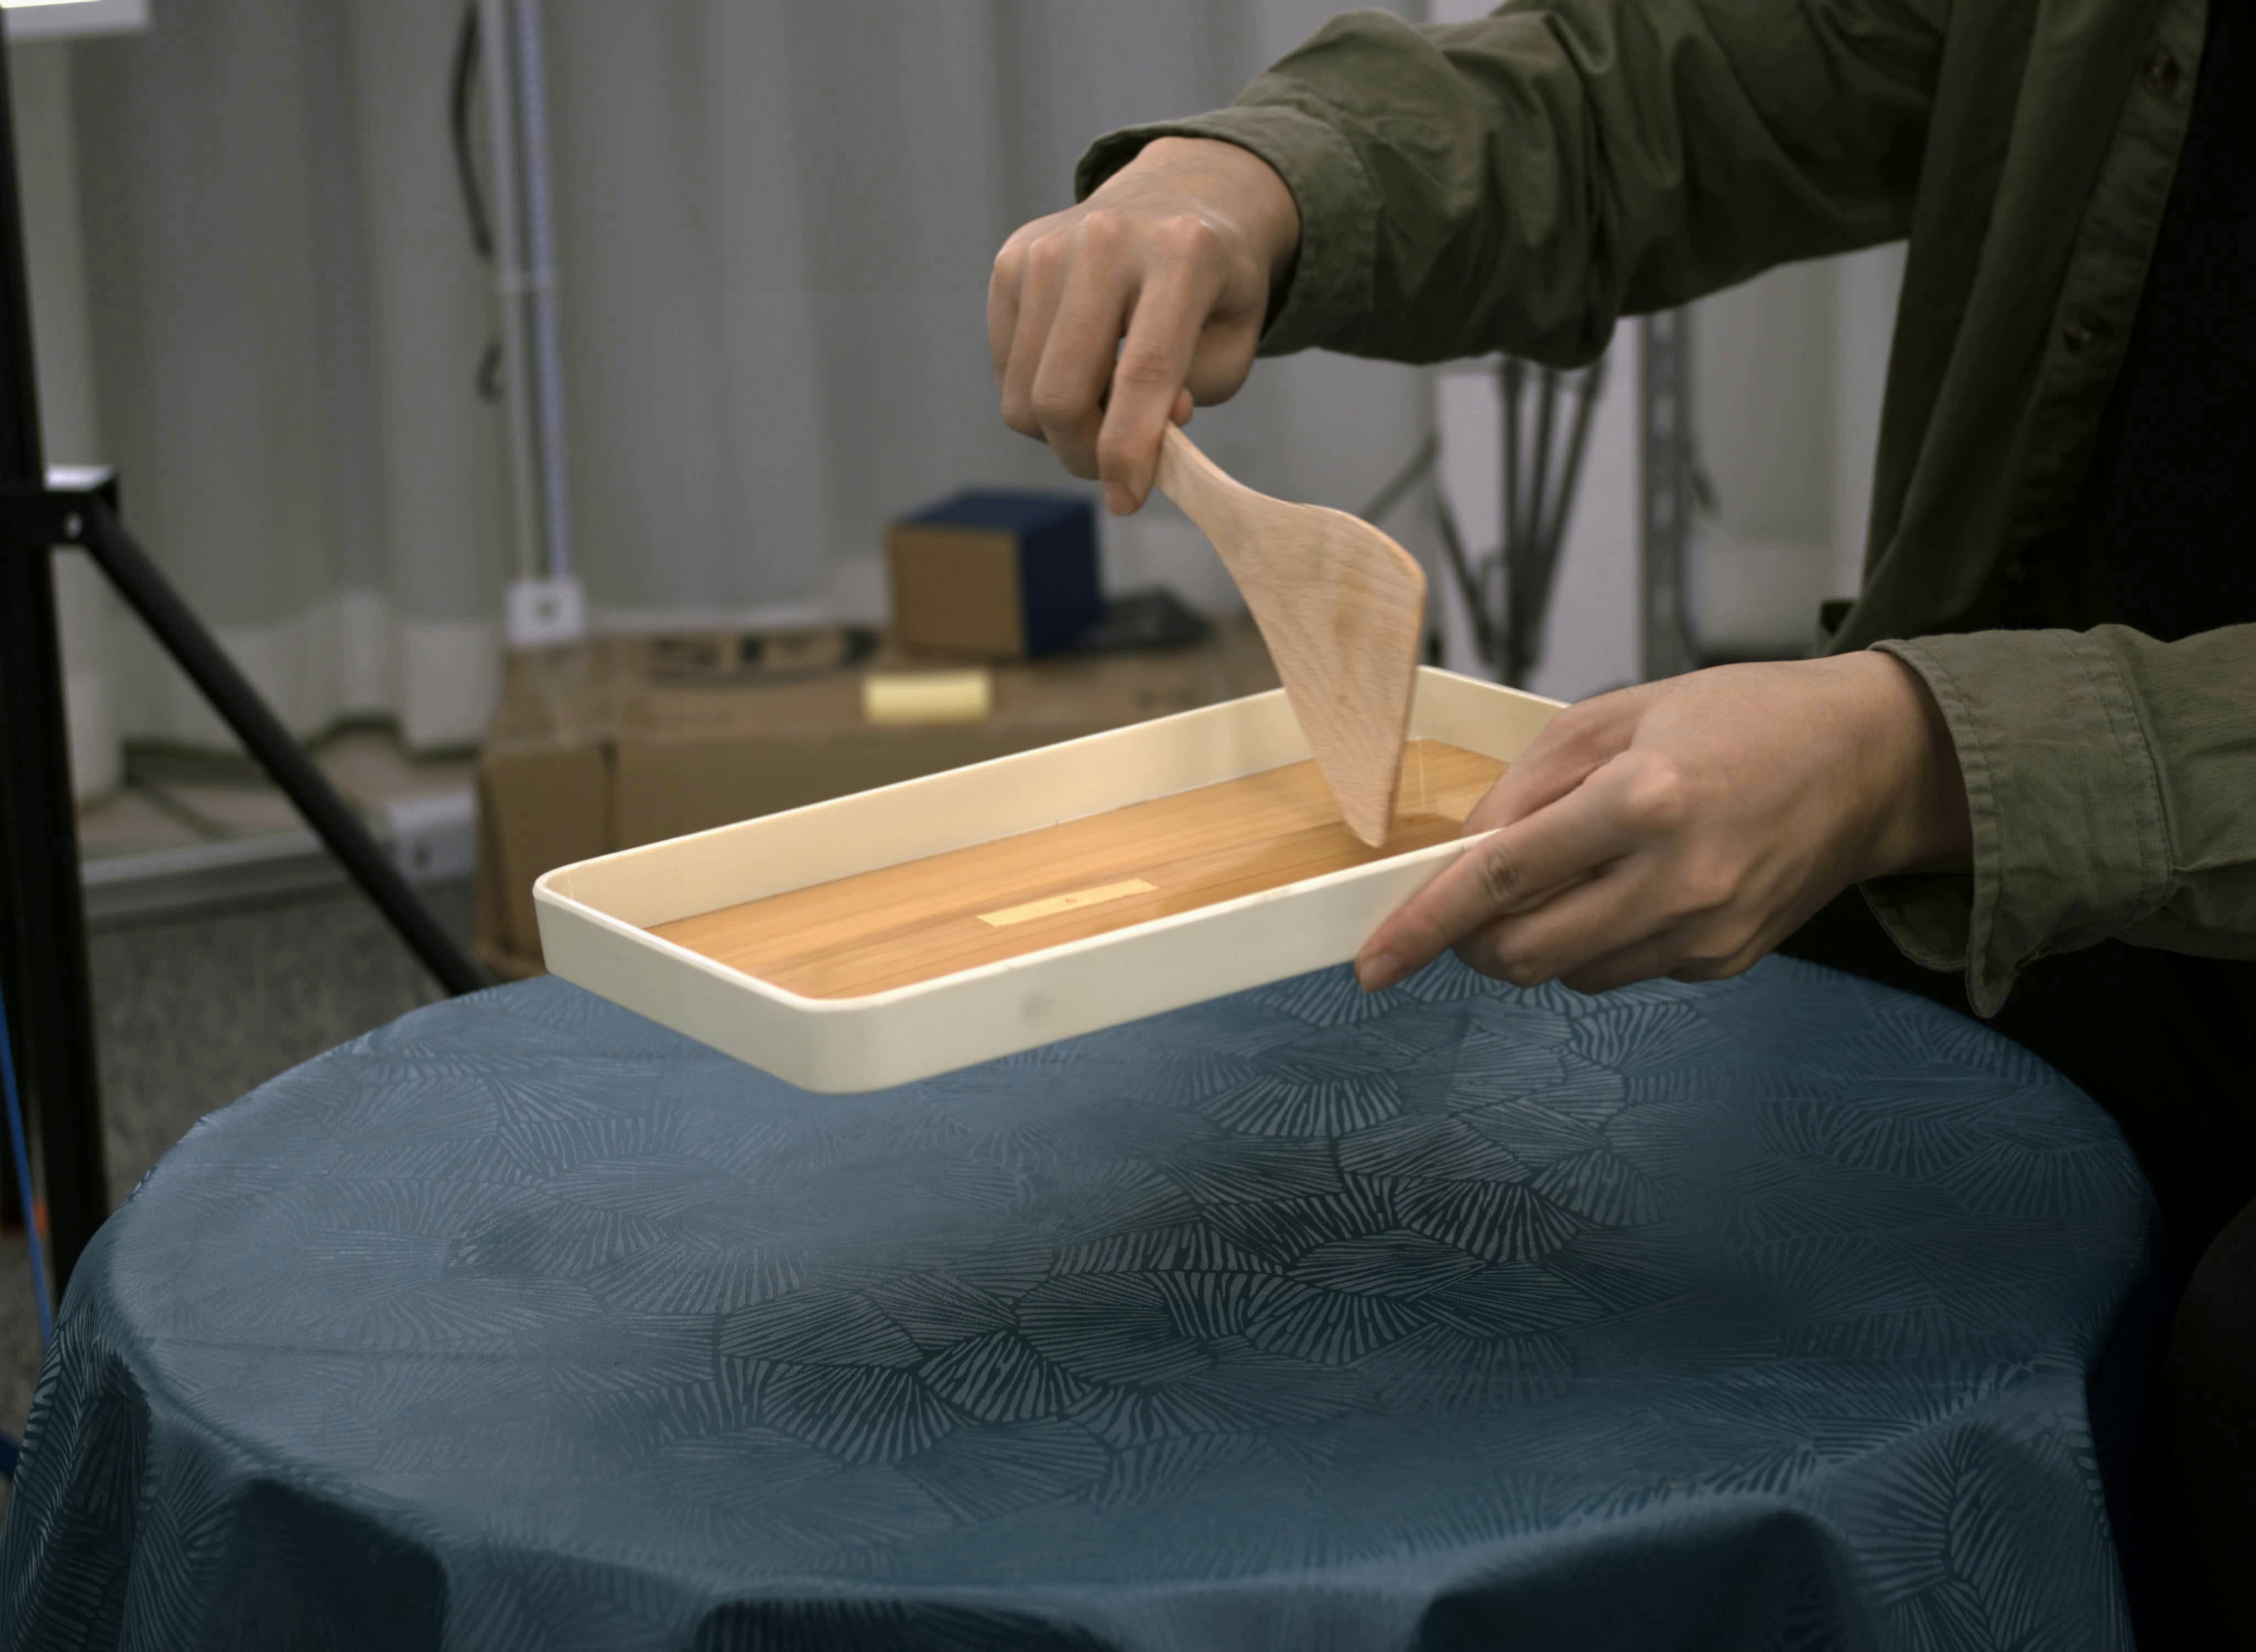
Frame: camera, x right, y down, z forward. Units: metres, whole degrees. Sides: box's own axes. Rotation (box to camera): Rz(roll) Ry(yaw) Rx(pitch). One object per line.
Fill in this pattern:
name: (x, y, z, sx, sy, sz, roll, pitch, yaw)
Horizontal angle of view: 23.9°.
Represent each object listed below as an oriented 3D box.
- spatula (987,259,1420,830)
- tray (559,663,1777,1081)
spatula: (0.017, -0.103, 1.585, 0.016, 0.080, 0.334, 1, 26, -25)
tray: (0.011, 0.008, 1.476, 0.294, 0.027, 0.195, -13, 17, -26)
